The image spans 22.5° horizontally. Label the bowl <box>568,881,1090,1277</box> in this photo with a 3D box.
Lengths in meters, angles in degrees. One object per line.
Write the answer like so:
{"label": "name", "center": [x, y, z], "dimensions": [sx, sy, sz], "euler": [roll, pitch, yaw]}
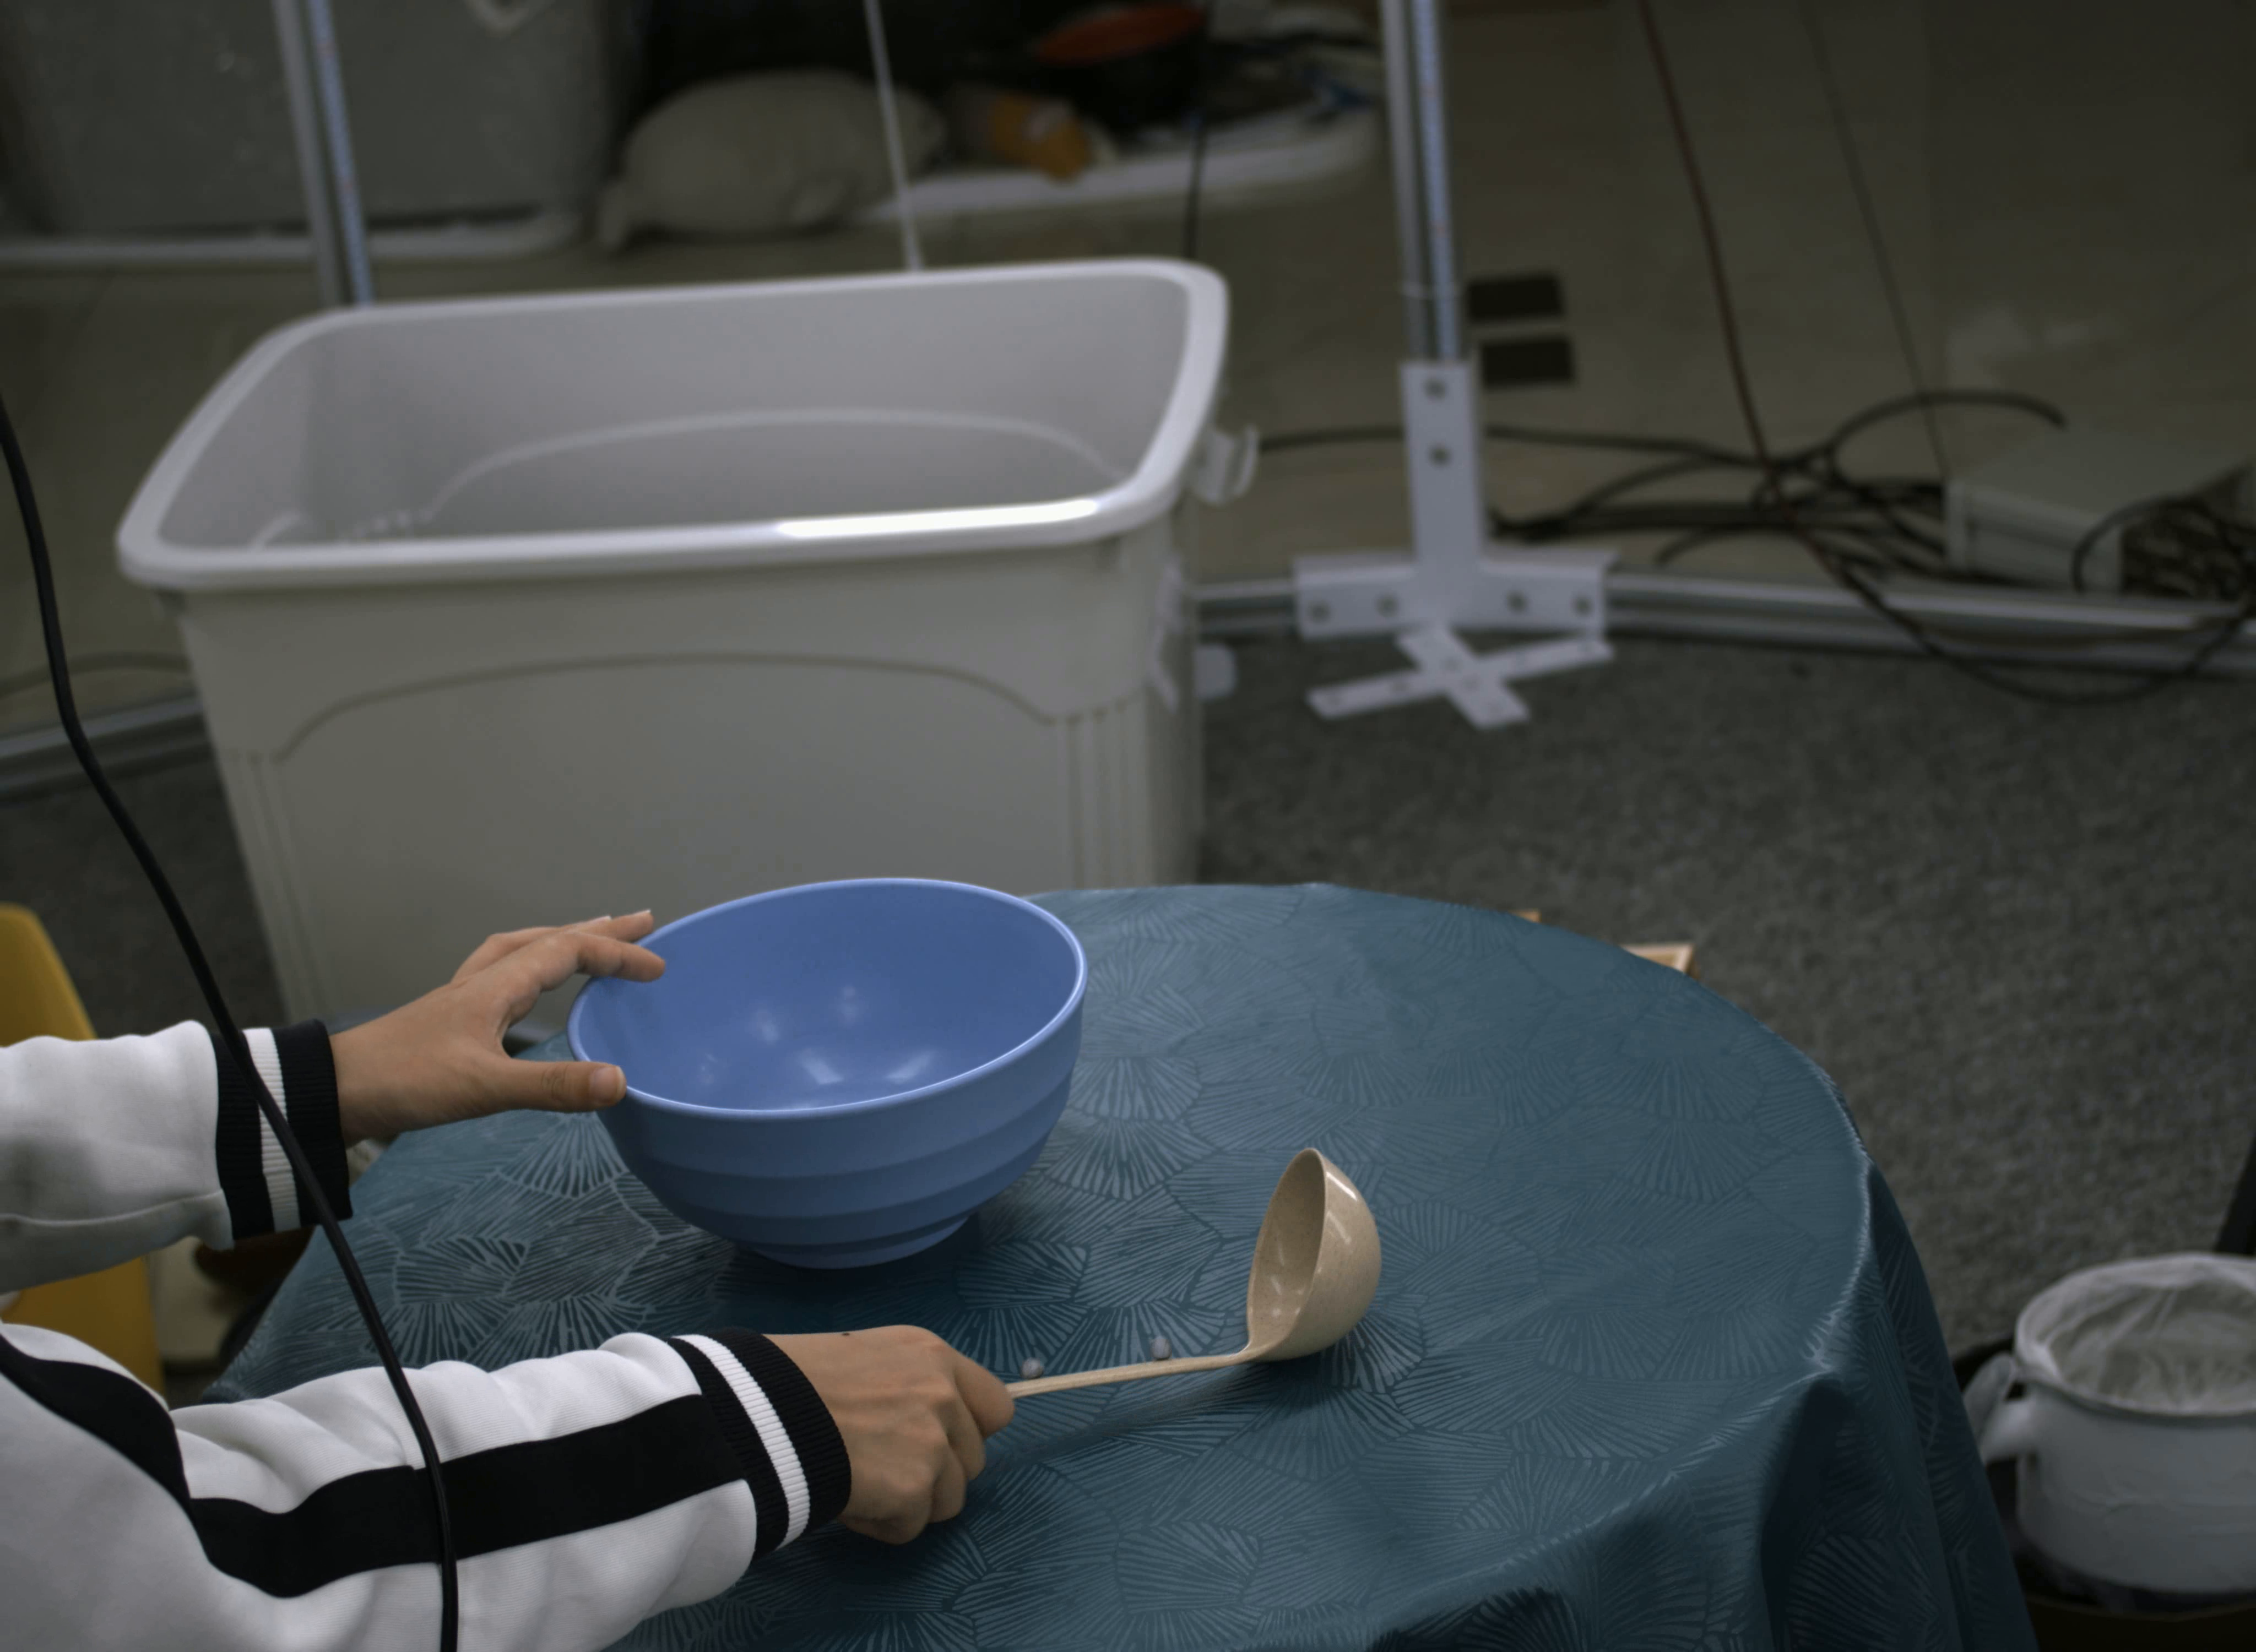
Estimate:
{"label": "bowl", "center": [-0.108, 0.106, 2.138], "dimensions": [0.196, 0.097, 0.193], "euler": [-5, 26, 2]}

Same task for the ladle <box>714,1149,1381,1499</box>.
{"label": "ladle", "center": [-0.033, 0.171, 1.981], "dimensions": [0.253, 0.073, 0.072], "euler": [-11, -4, -21]}
